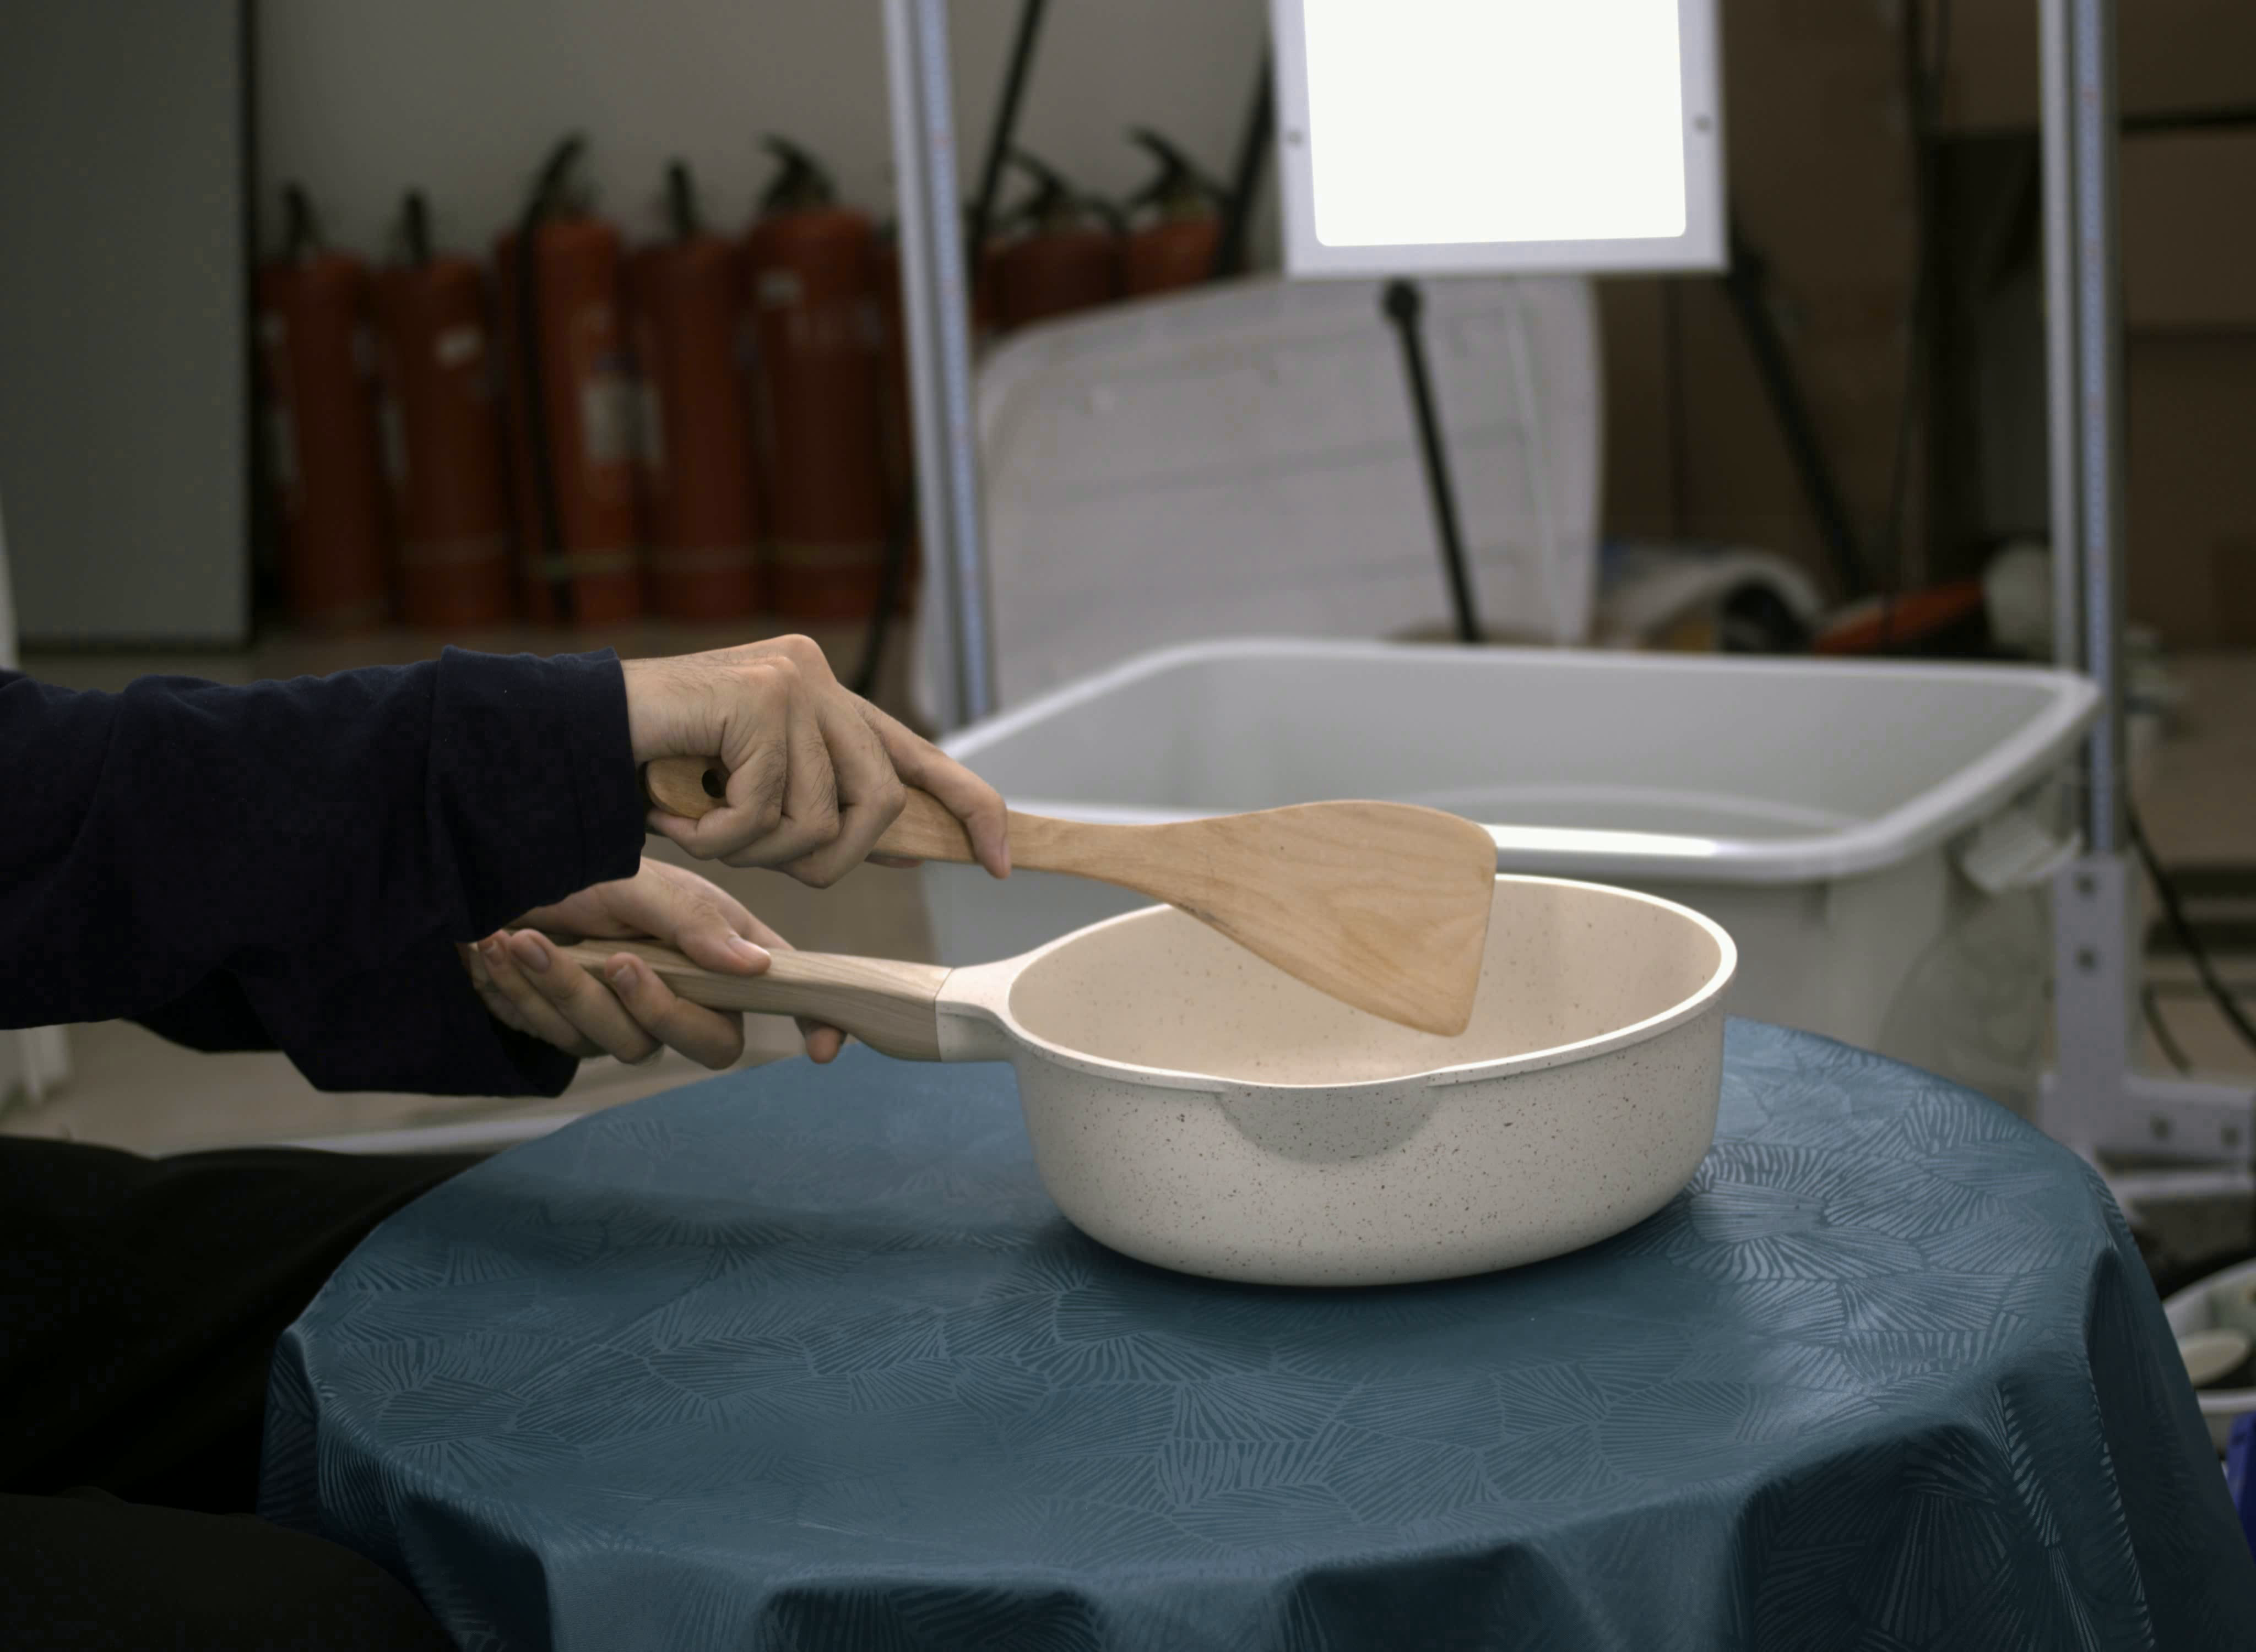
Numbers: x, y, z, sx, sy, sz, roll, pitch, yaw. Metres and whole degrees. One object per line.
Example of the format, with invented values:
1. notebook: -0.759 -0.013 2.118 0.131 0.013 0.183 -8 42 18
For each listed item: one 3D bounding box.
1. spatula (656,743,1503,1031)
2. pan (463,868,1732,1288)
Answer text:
1. spatula: -0.008 0.010 1.795 0.321 0.080 0.017 9 -15 -27
2. pan: -0.010 0.084 1.877 0.437 0.102 0.261 -3 15 10
